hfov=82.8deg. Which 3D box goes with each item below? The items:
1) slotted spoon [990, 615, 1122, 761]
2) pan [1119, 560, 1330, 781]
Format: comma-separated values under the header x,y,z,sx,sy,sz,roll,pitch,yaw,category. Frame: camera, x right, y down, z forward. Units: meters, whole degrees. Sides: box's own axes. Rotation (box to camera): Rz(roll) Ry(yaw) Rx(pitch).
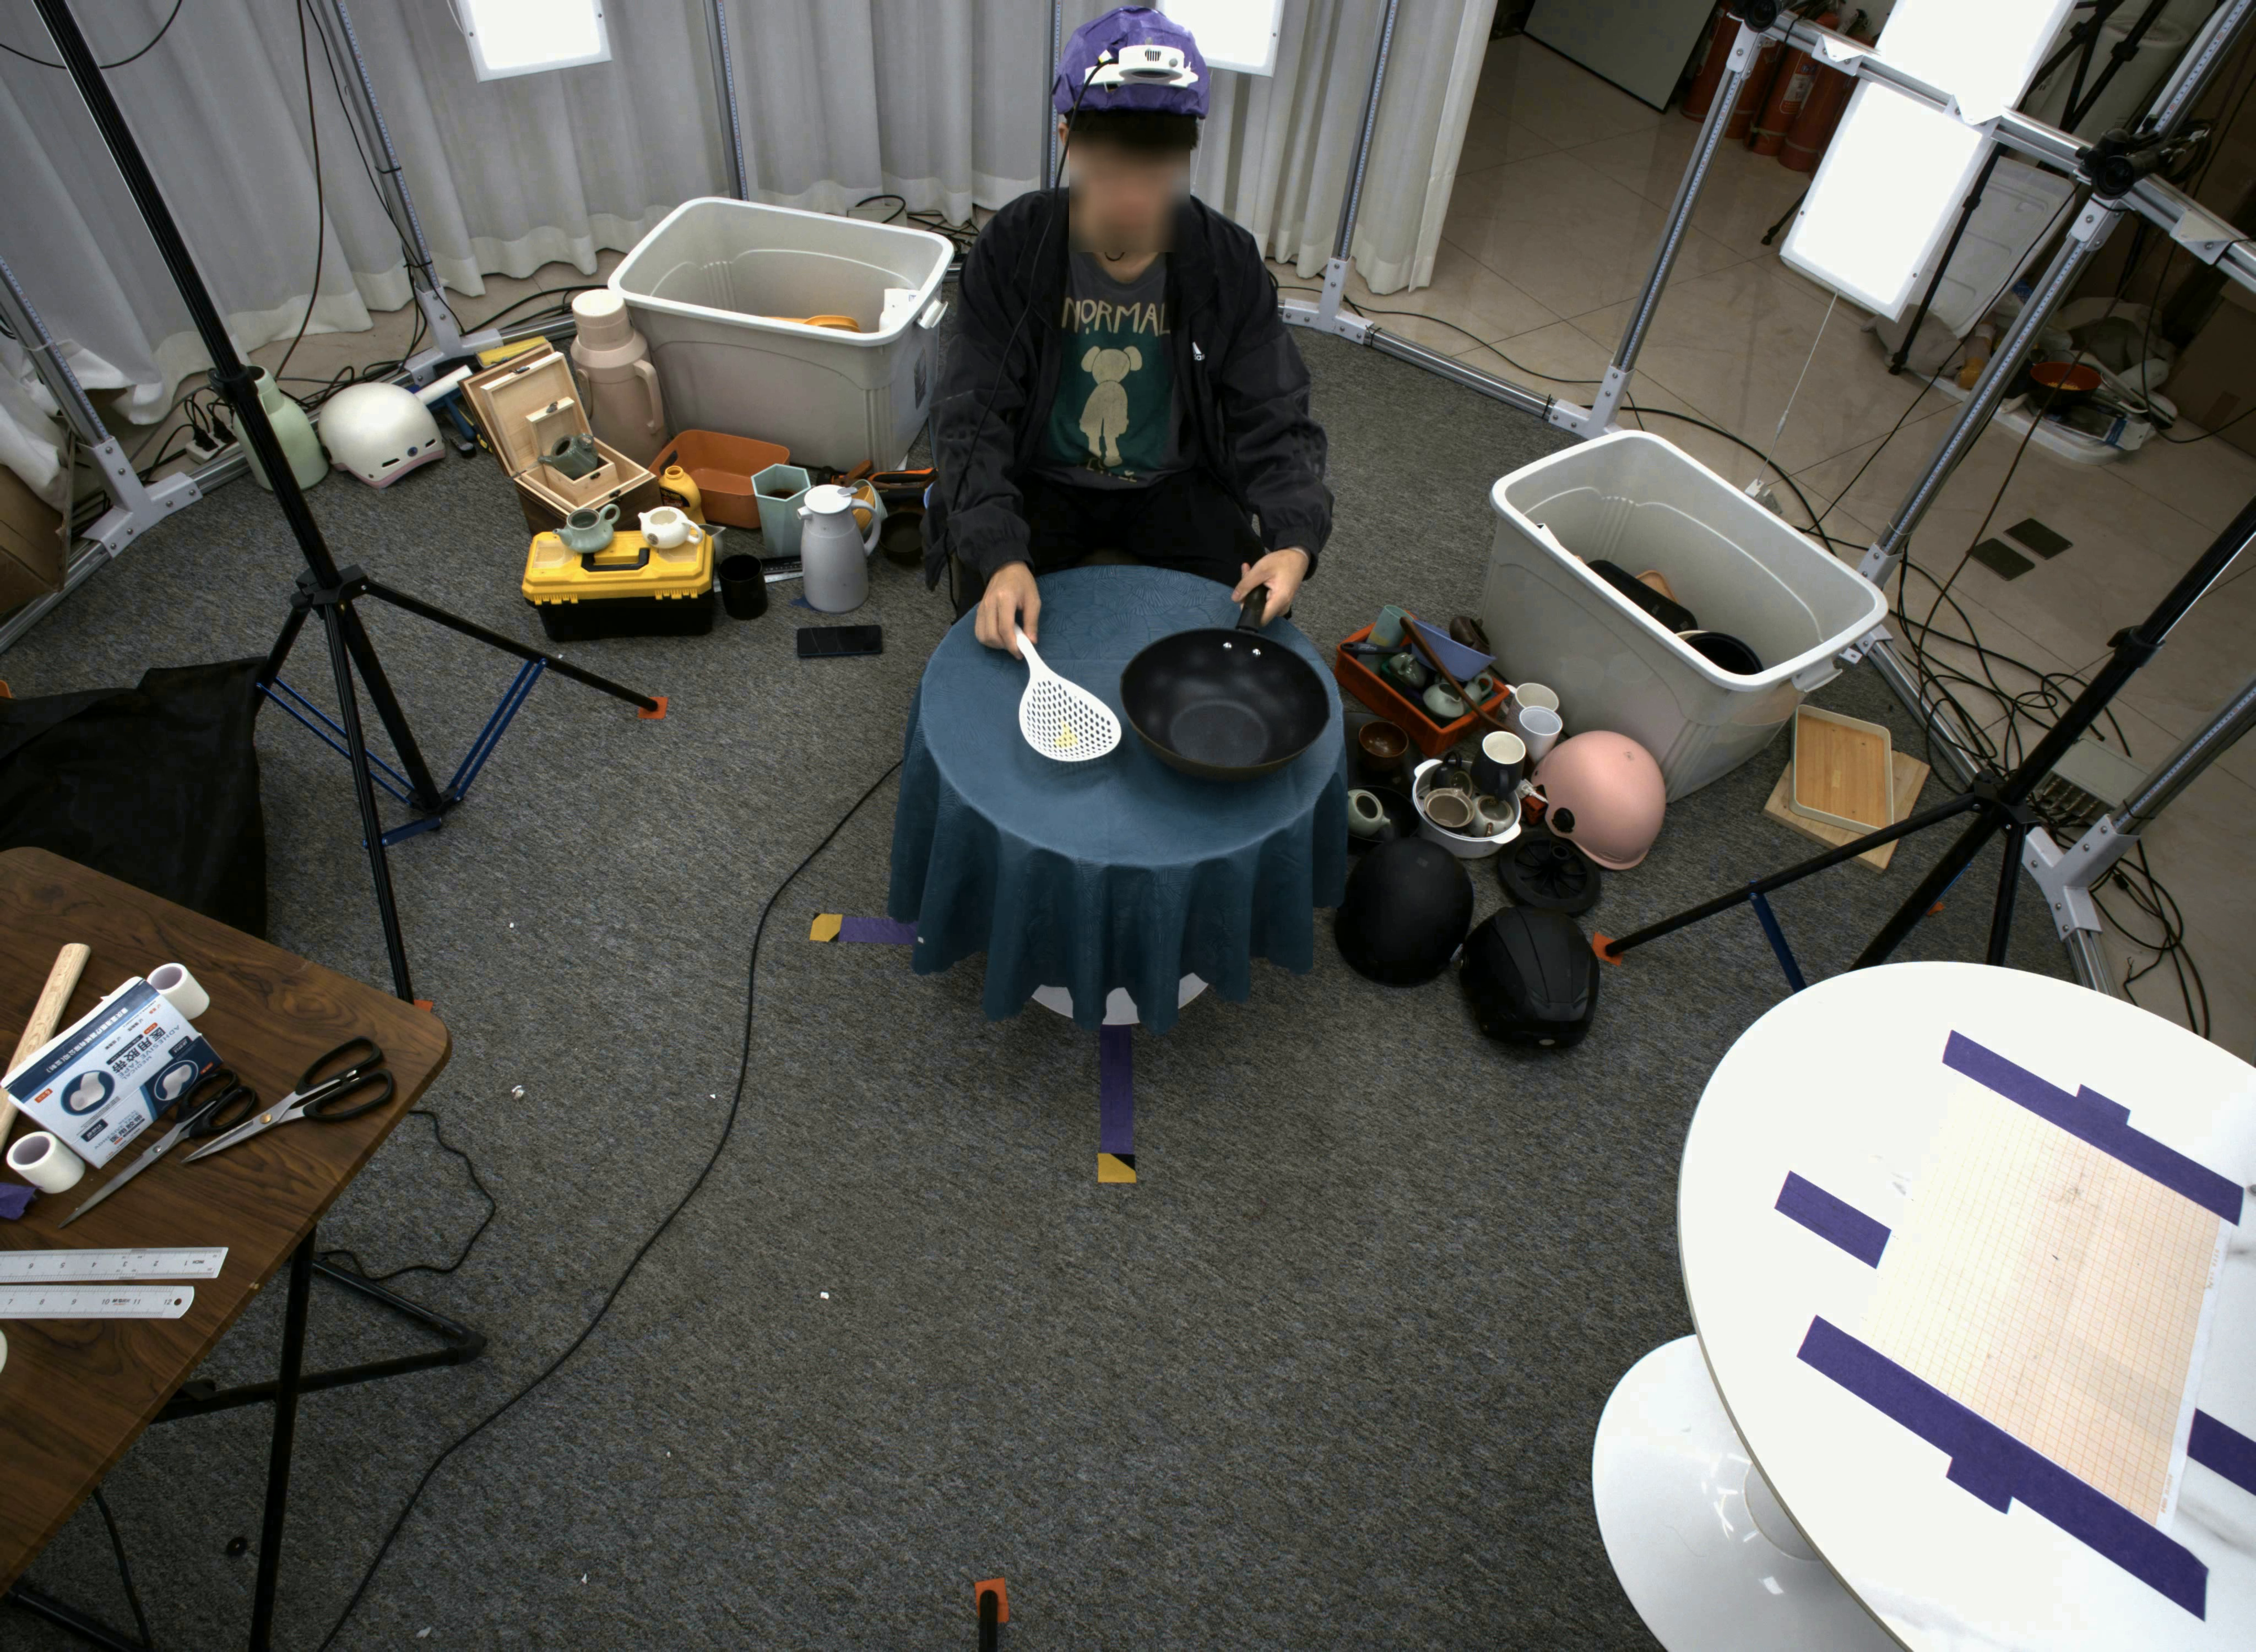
x,y,z,sx,sy,sz,roll,pitch,yaw,category
-0.123,-0.205,1.808,0.137,0.049,0.356,-14,52,-19,slotted spoon
0.151,-0.217,1.812,0.289,0.085,0.473,13,46,8,pan
